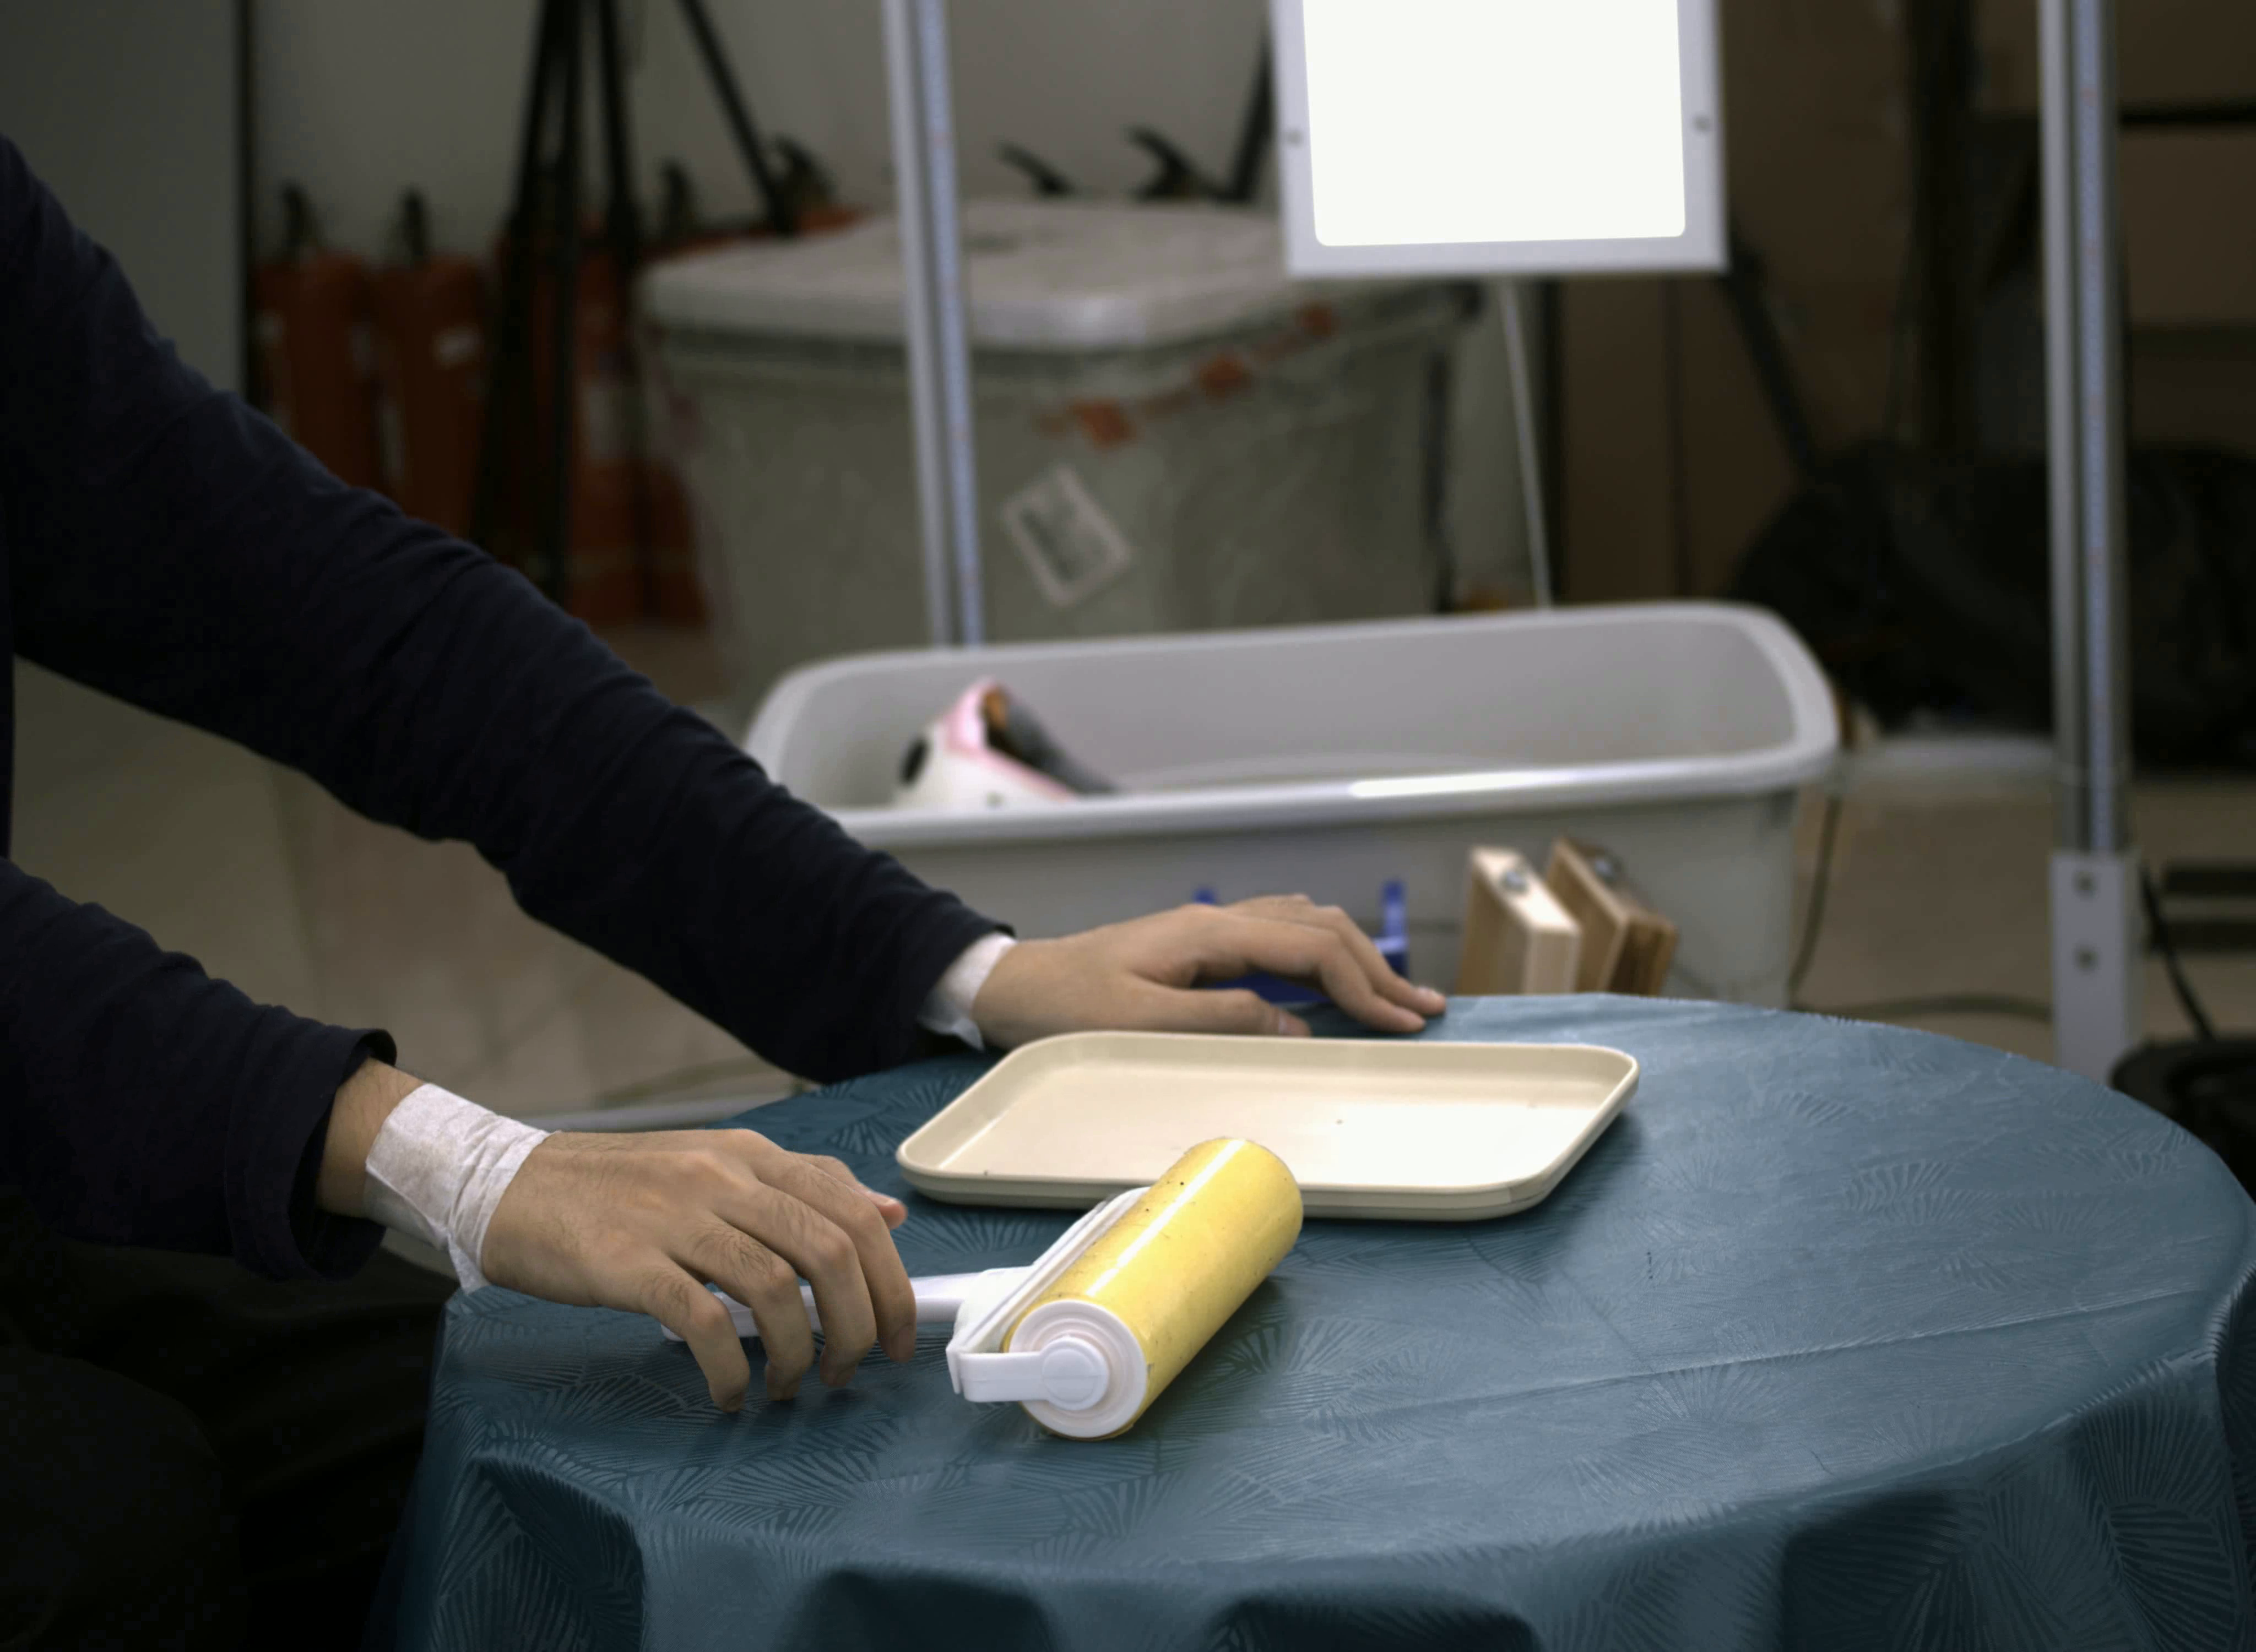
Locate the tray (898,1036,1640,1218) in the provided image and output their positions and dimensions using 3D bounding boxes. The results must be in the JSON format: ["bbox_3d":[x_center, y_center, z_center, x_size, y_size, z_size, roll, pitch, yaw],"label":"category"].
[{"bbox_3d":[0.051,0.106,1.933,0.243,0.017,0.168,0,14,22],"label":"tray"}]

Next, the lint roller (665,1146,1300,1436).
[{"bbox_3d":[-0.058,0.144,1.753,0.194,0.051,0.171,2,14,18],"label":"lint roller"}]
